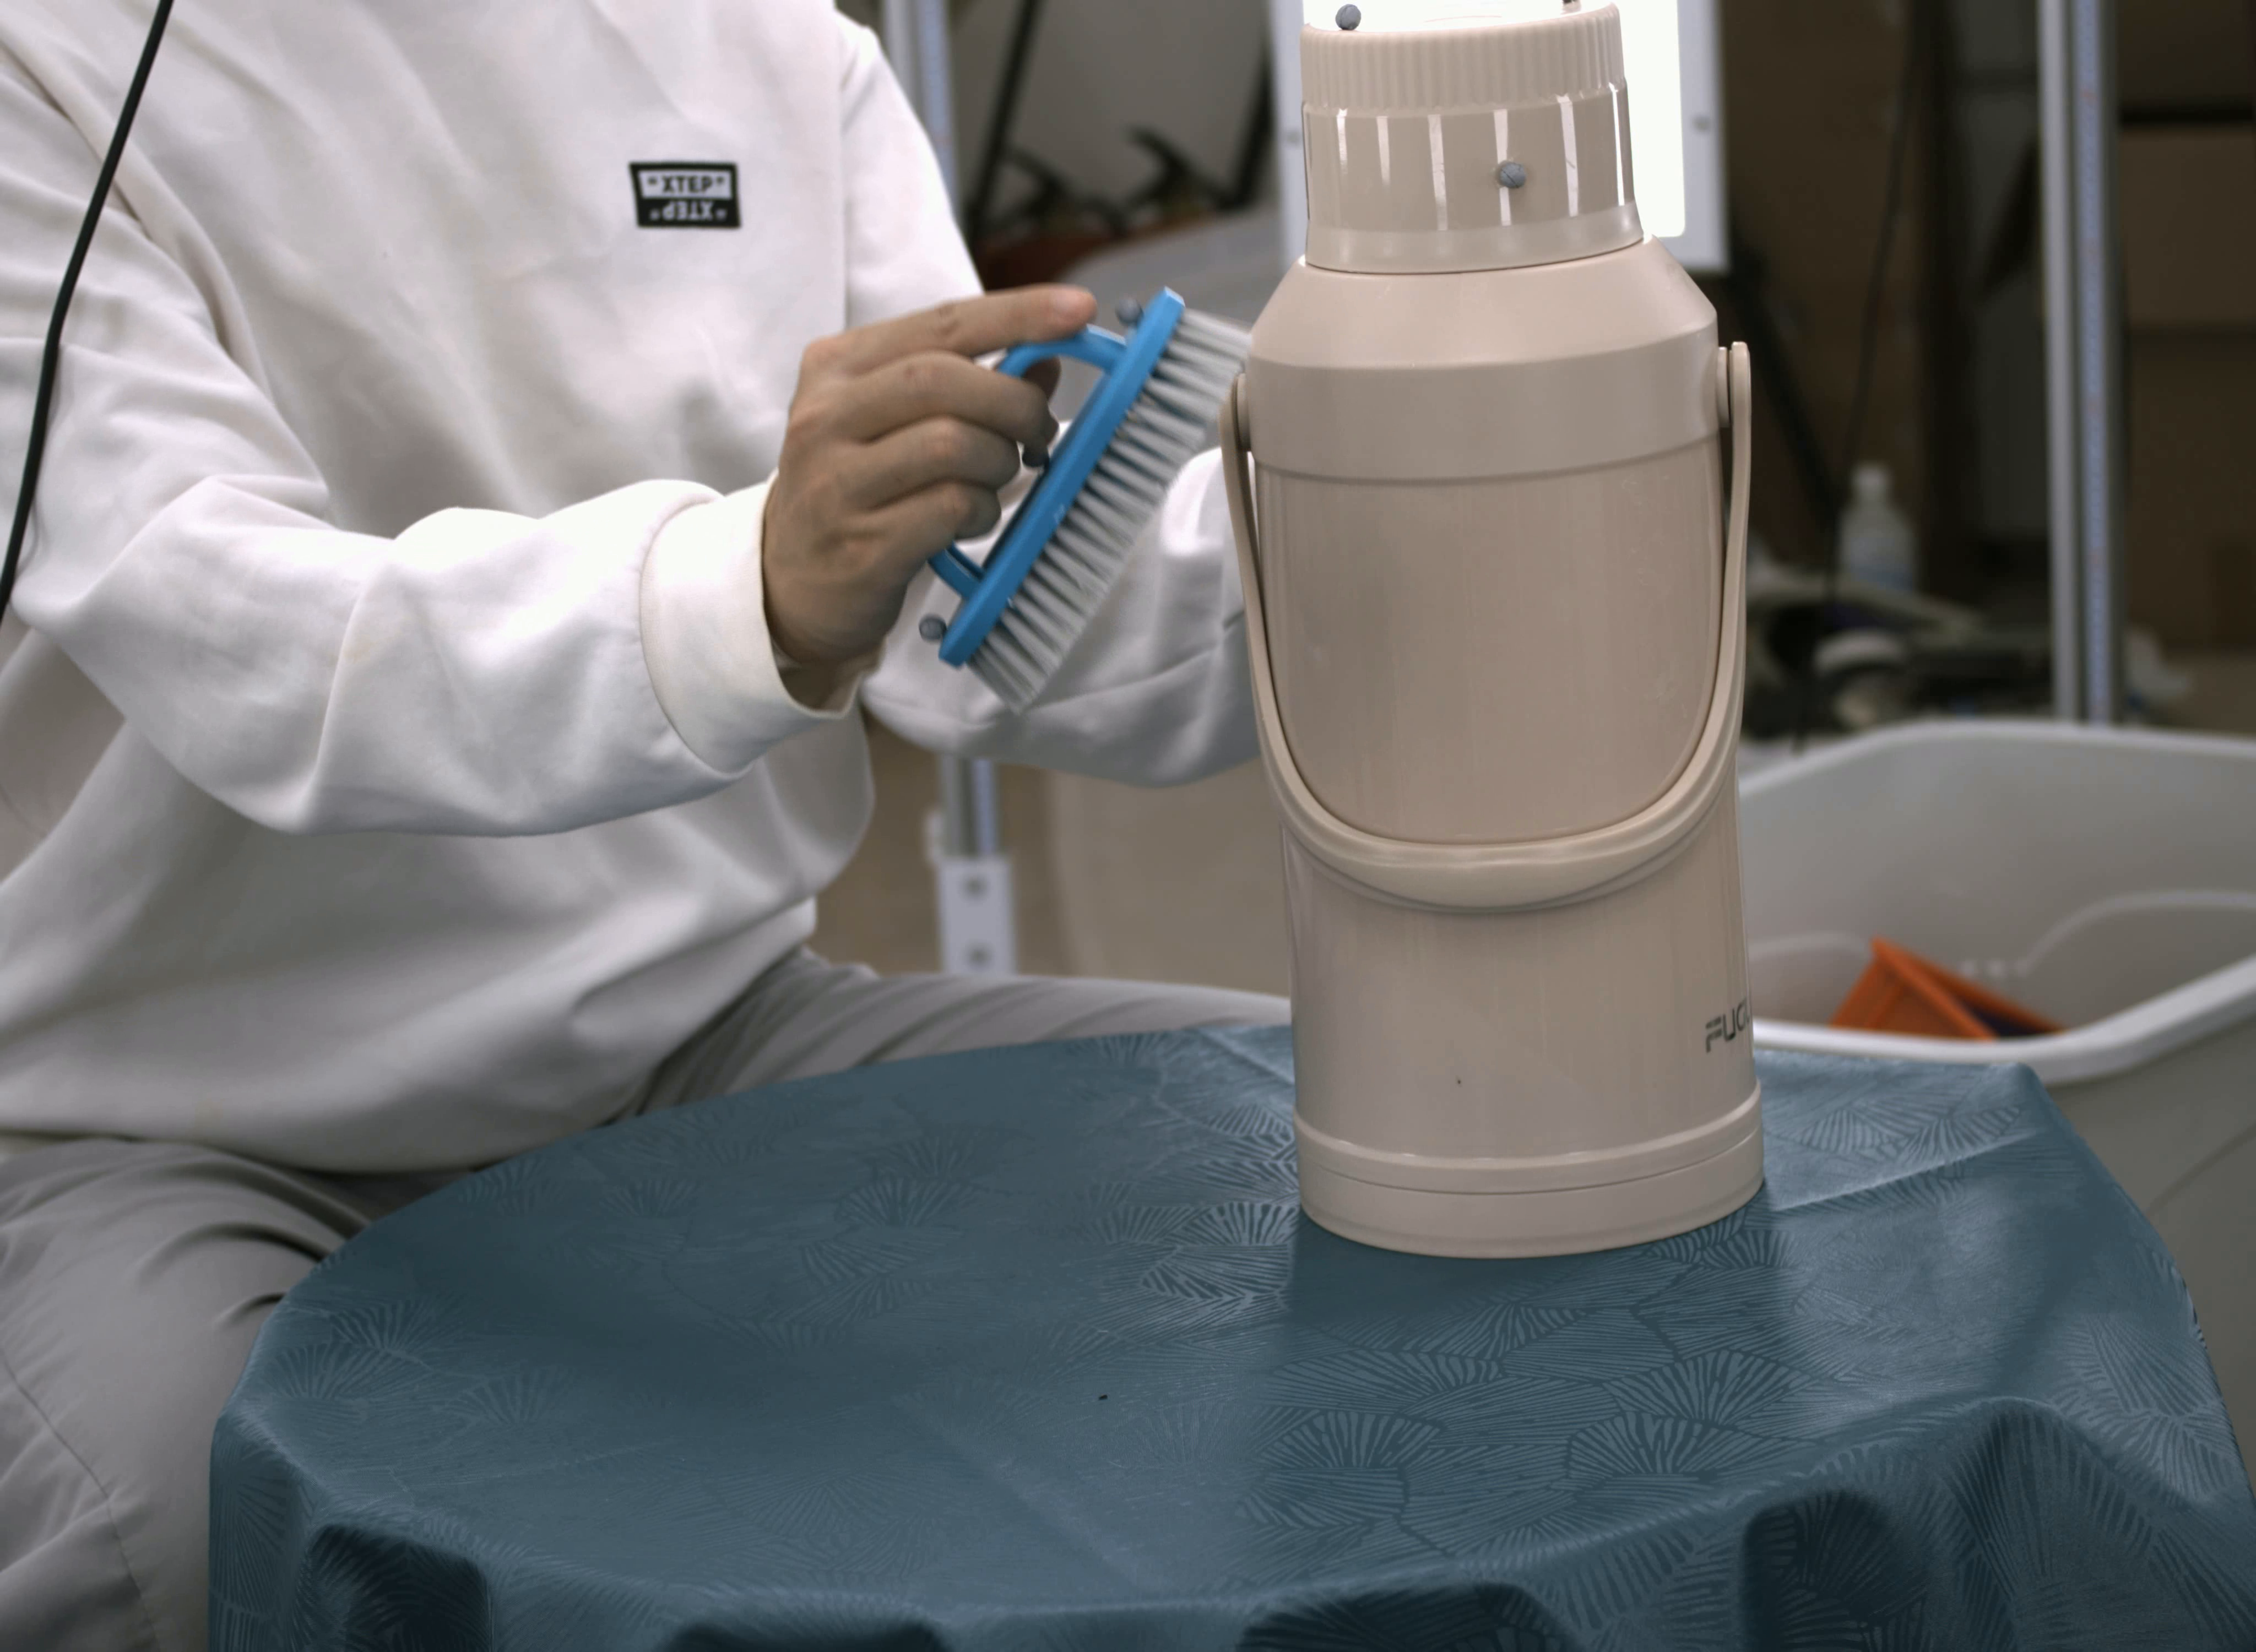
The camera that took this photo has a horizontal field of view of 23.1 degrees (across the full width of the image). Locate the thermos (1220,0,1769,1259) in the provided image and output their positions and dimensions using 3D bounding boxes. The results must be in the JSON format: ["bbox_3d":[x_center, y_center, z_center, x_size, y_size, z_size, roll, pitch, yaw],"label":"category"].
[{"bbox_3d":[0.127,-0.074,1.833,0.176,0.408,0.205,-4,13,9],"label":"thermos"}]

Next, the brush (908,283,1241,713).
[{"bbox_3d":[-0.025,-0.107,1.706,0.063,0.143,0.084,29,20,-10],"label":"brush"}]
